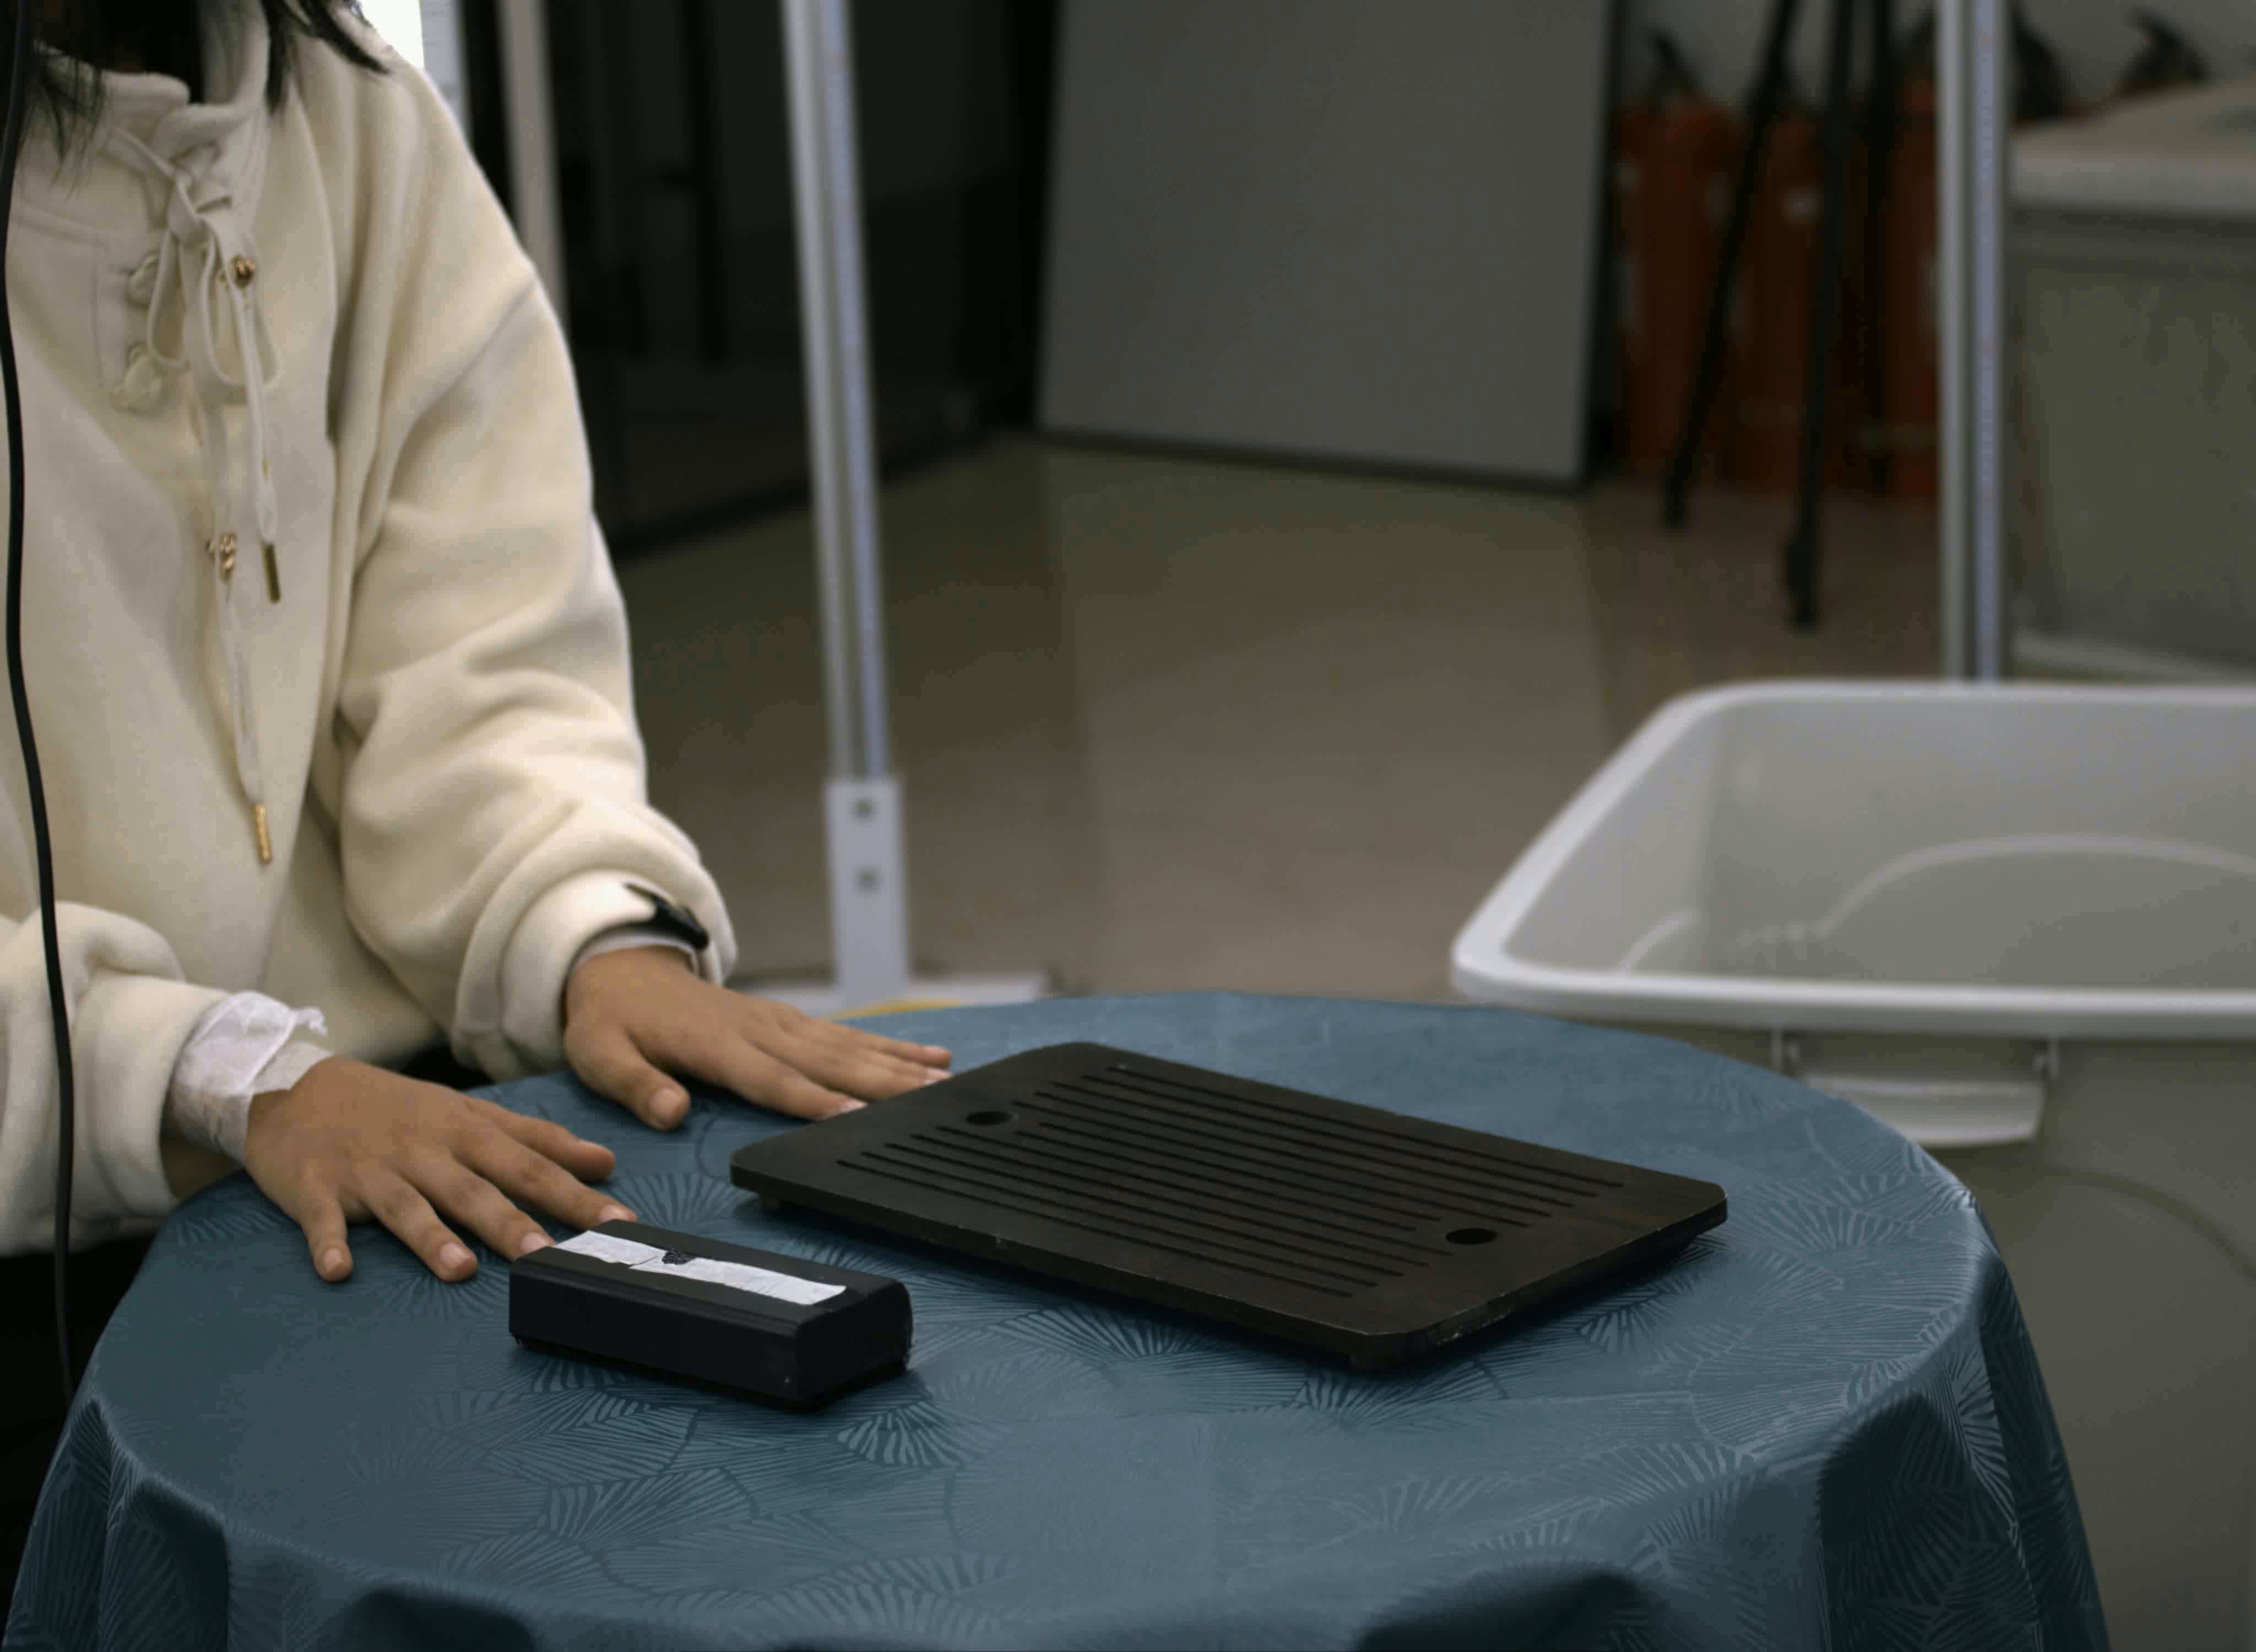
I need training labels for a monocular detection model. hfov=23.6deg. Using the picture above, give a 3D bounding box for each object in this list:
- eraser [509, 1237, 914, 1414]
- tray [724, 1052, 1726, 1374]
[{"bbox_3d":[-0.125,0.150,1.634,0.126,0.031,0.052,6,14,40],"label":"eraser"},{"bbox_3d":[0.027,0.121,1.726,0.166,0.019,0.309,-17,19,-42],"label":"tray"}]
